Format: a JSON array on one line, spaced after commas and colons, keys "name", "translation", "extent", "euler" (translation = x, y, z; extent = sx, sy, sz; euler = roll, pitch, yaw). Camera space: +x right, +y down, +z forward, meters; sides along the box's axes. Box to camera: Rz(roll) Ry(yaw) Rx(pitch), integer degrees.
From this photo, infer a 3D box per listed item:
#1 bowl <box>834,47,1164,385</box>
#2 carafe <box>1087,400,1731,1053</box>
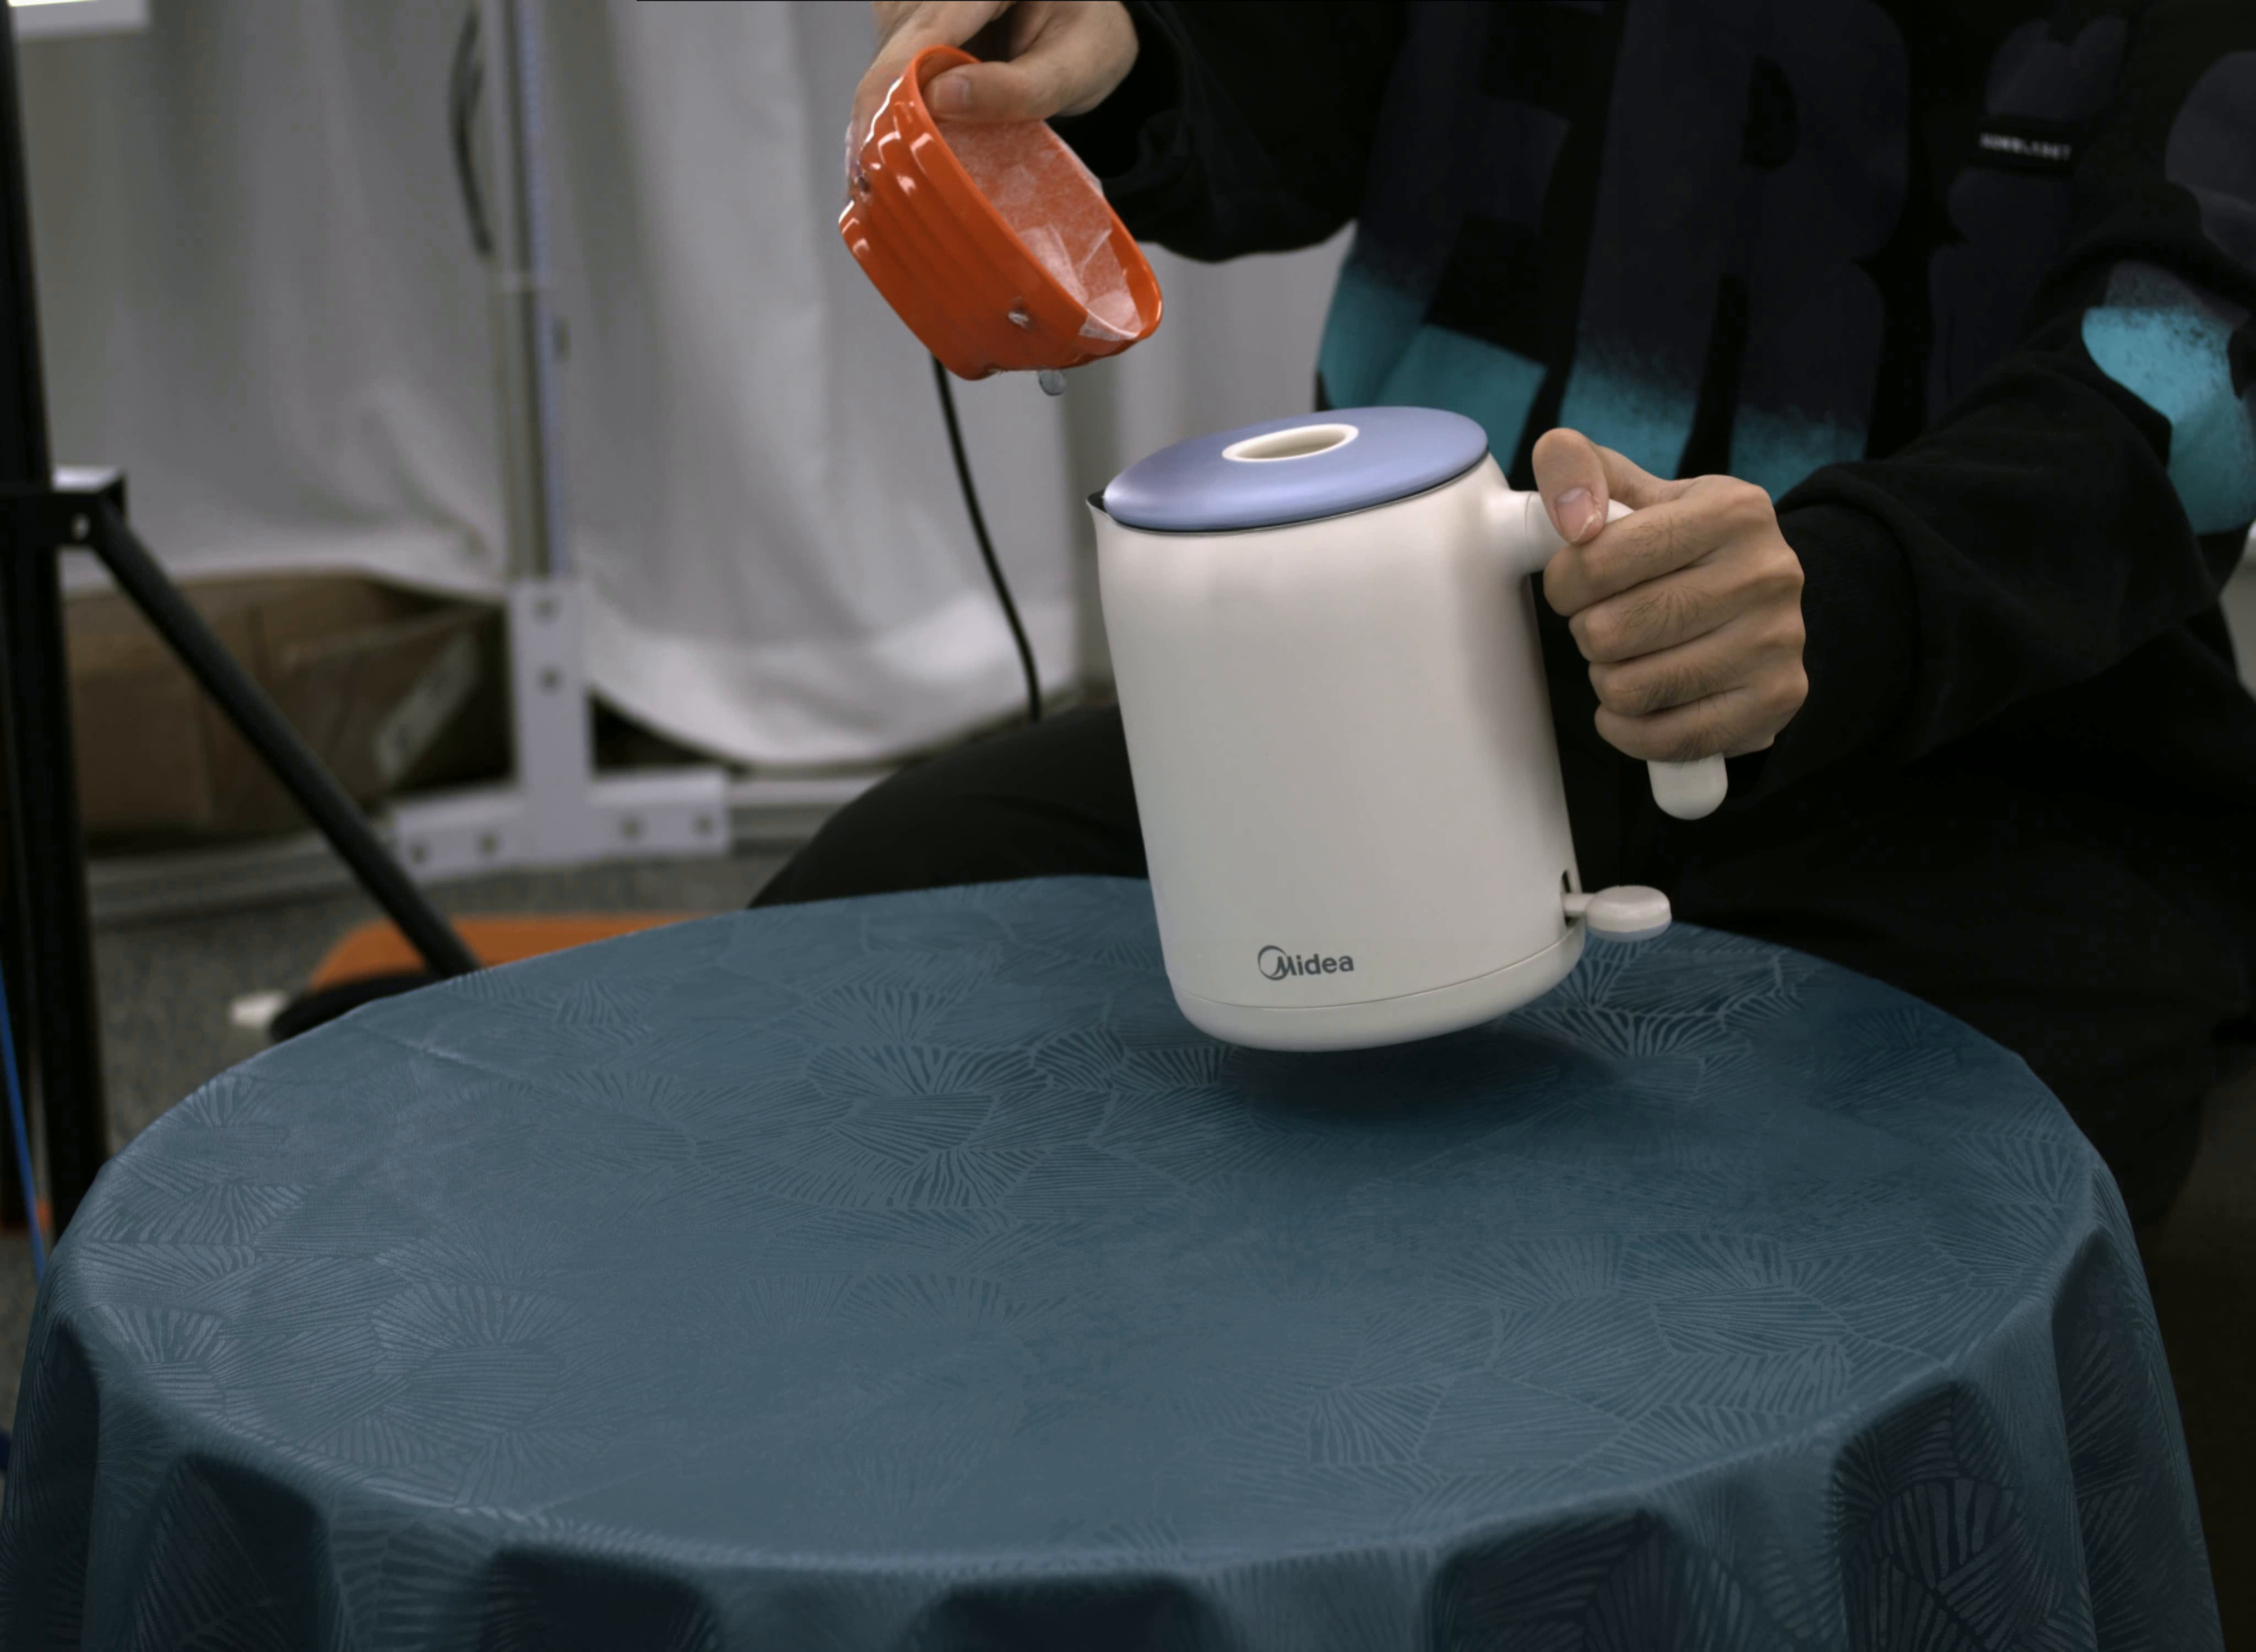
[{"name": "bowl", "translation": [-0.046, -0.176, 1.613], "extent": [0.052, 0.119, 0.118], "euler": [-42, 2, 21]}, {"name": "carafe", "translation": [0.088, -0.032, 1.622], "extent": [0.193, 0.182, 0.131], "euler": [-2, 18, 21]}]
